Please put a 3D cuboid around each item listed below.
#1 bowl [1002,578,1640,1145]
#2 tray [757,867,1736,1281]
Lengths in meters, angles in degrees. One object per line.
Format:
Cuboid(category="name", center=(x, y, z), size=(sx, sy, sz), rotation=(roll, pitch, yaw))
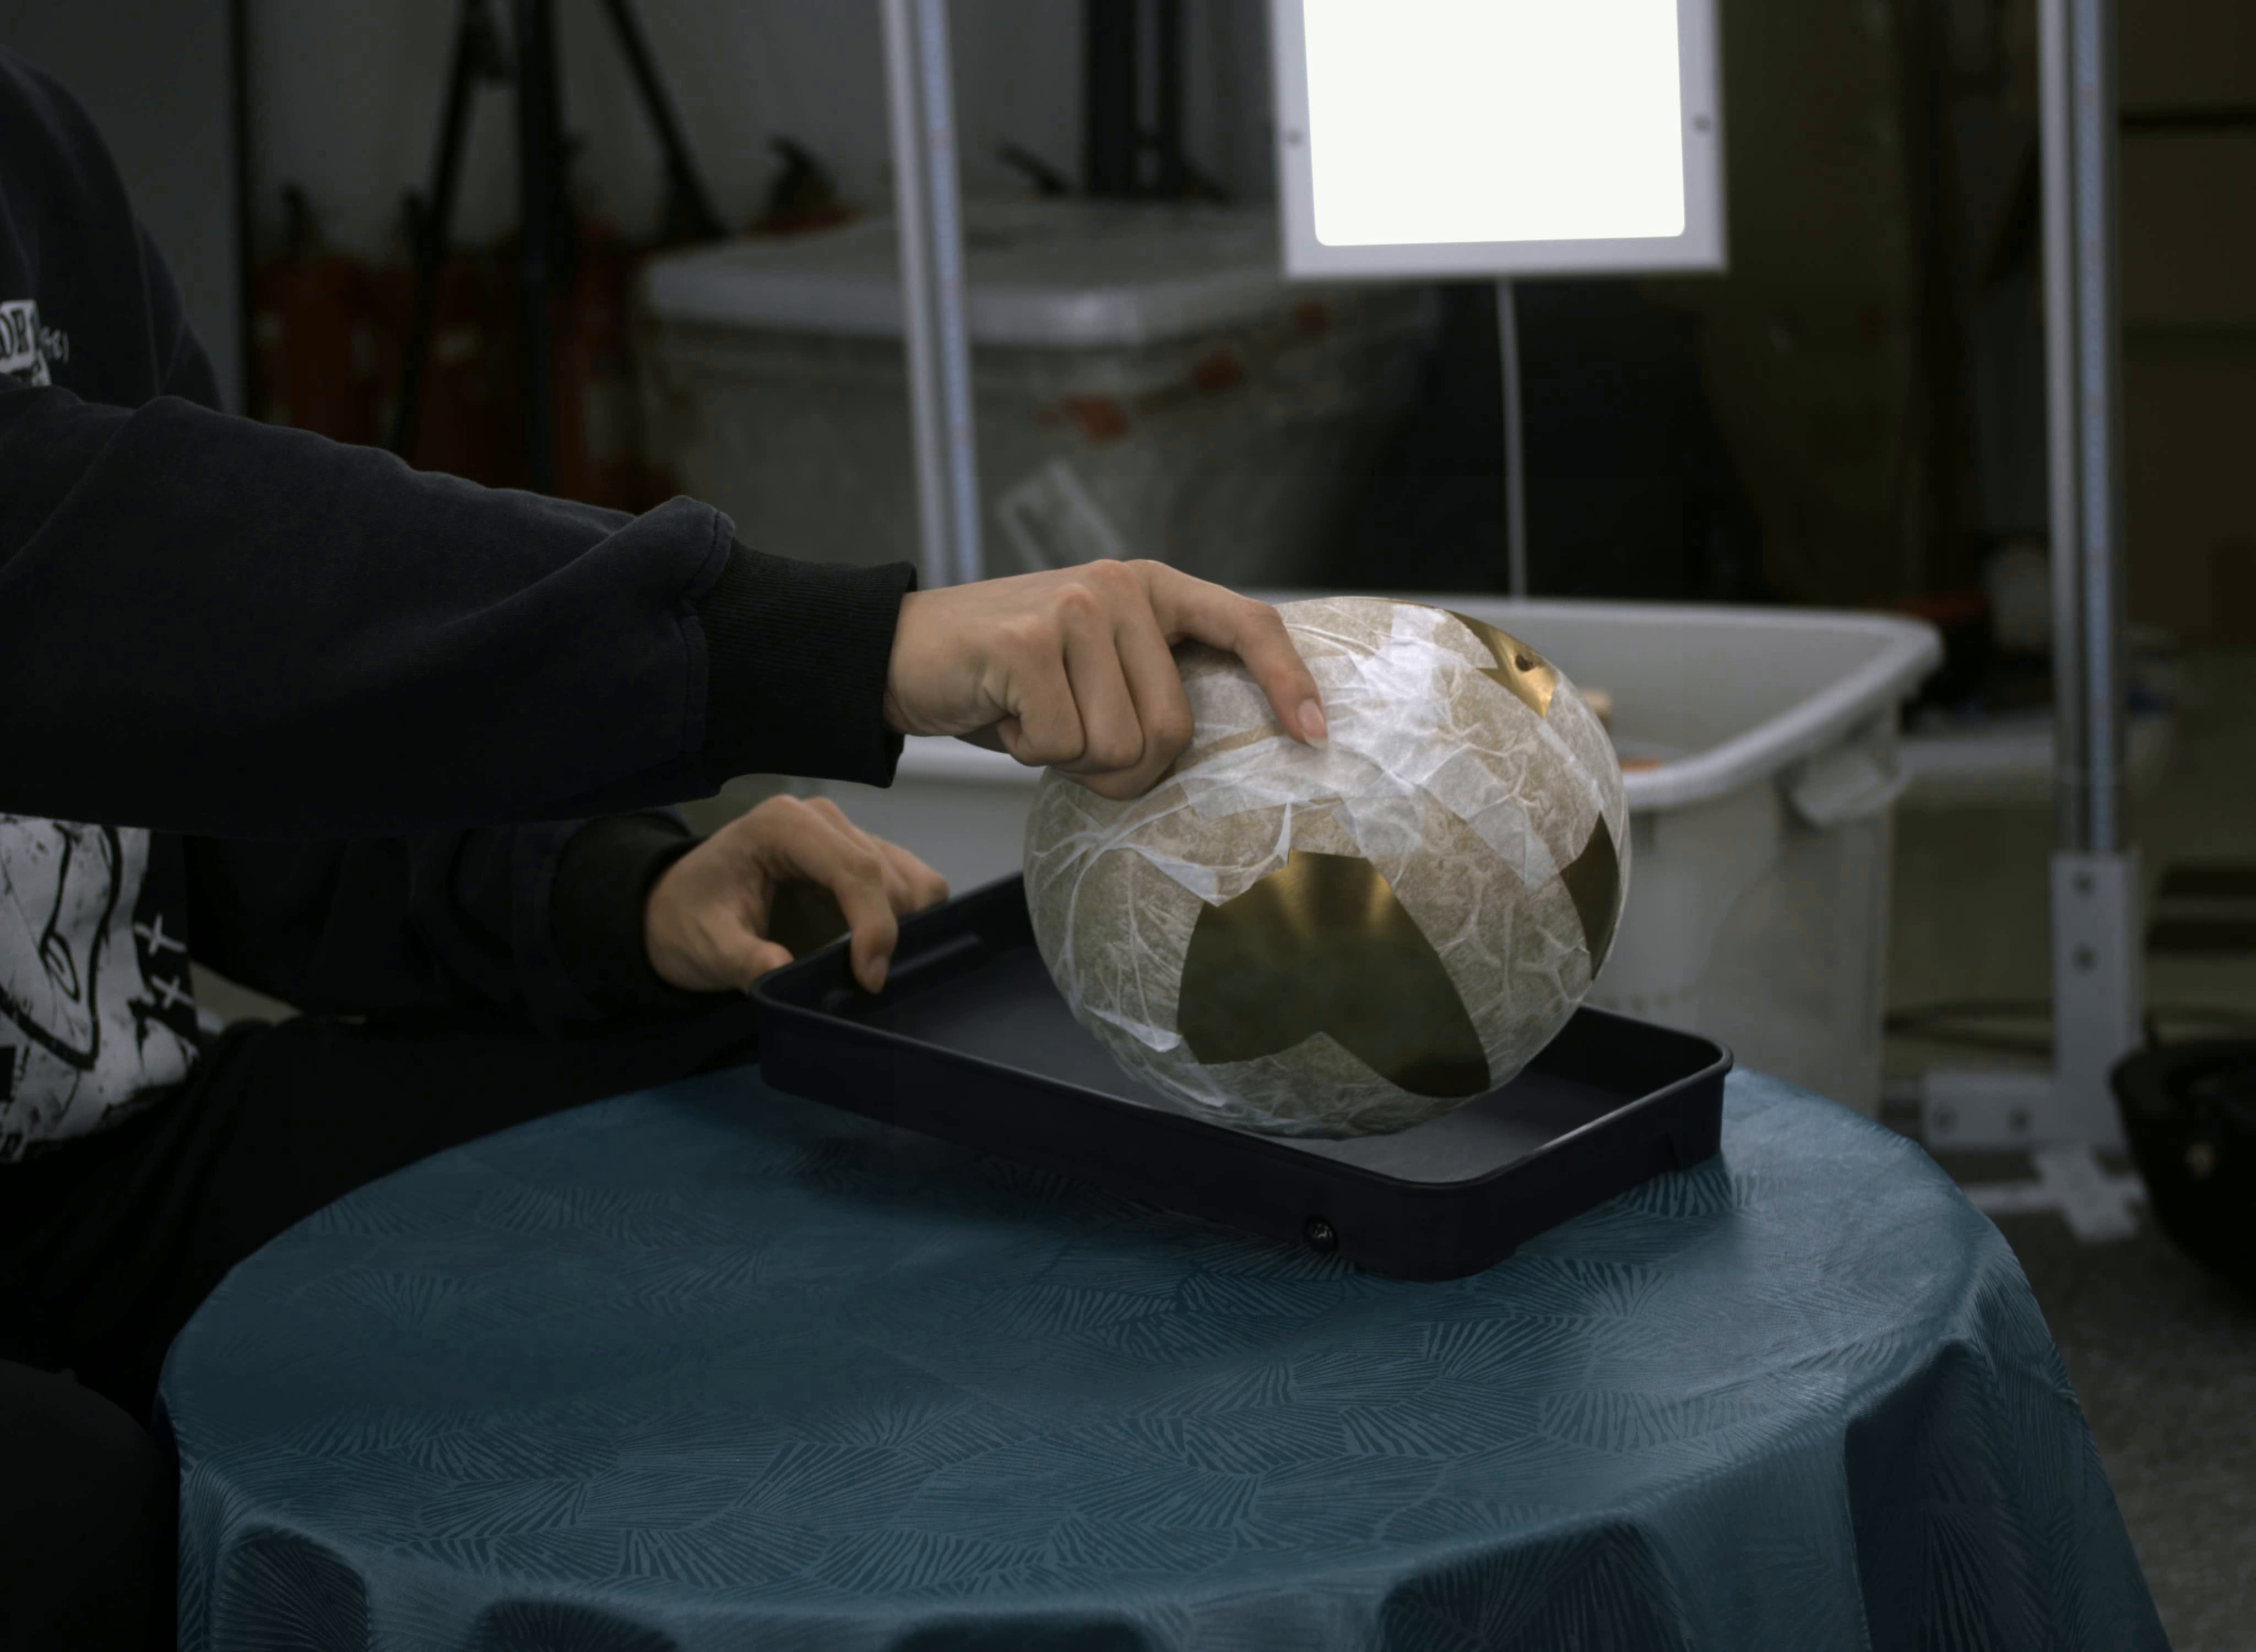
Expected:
Cuboid(category="bowl", center=(0.067, 0.032, 1.781), size=(0.214, 0.215, 0.094), rotation=(-4, 38, 0))
Cuboid(category="tray", center=(0.039, 0.081, 1.922), size=(0.324, 0.037, 0.179), rotation=(14, 25, 39))
